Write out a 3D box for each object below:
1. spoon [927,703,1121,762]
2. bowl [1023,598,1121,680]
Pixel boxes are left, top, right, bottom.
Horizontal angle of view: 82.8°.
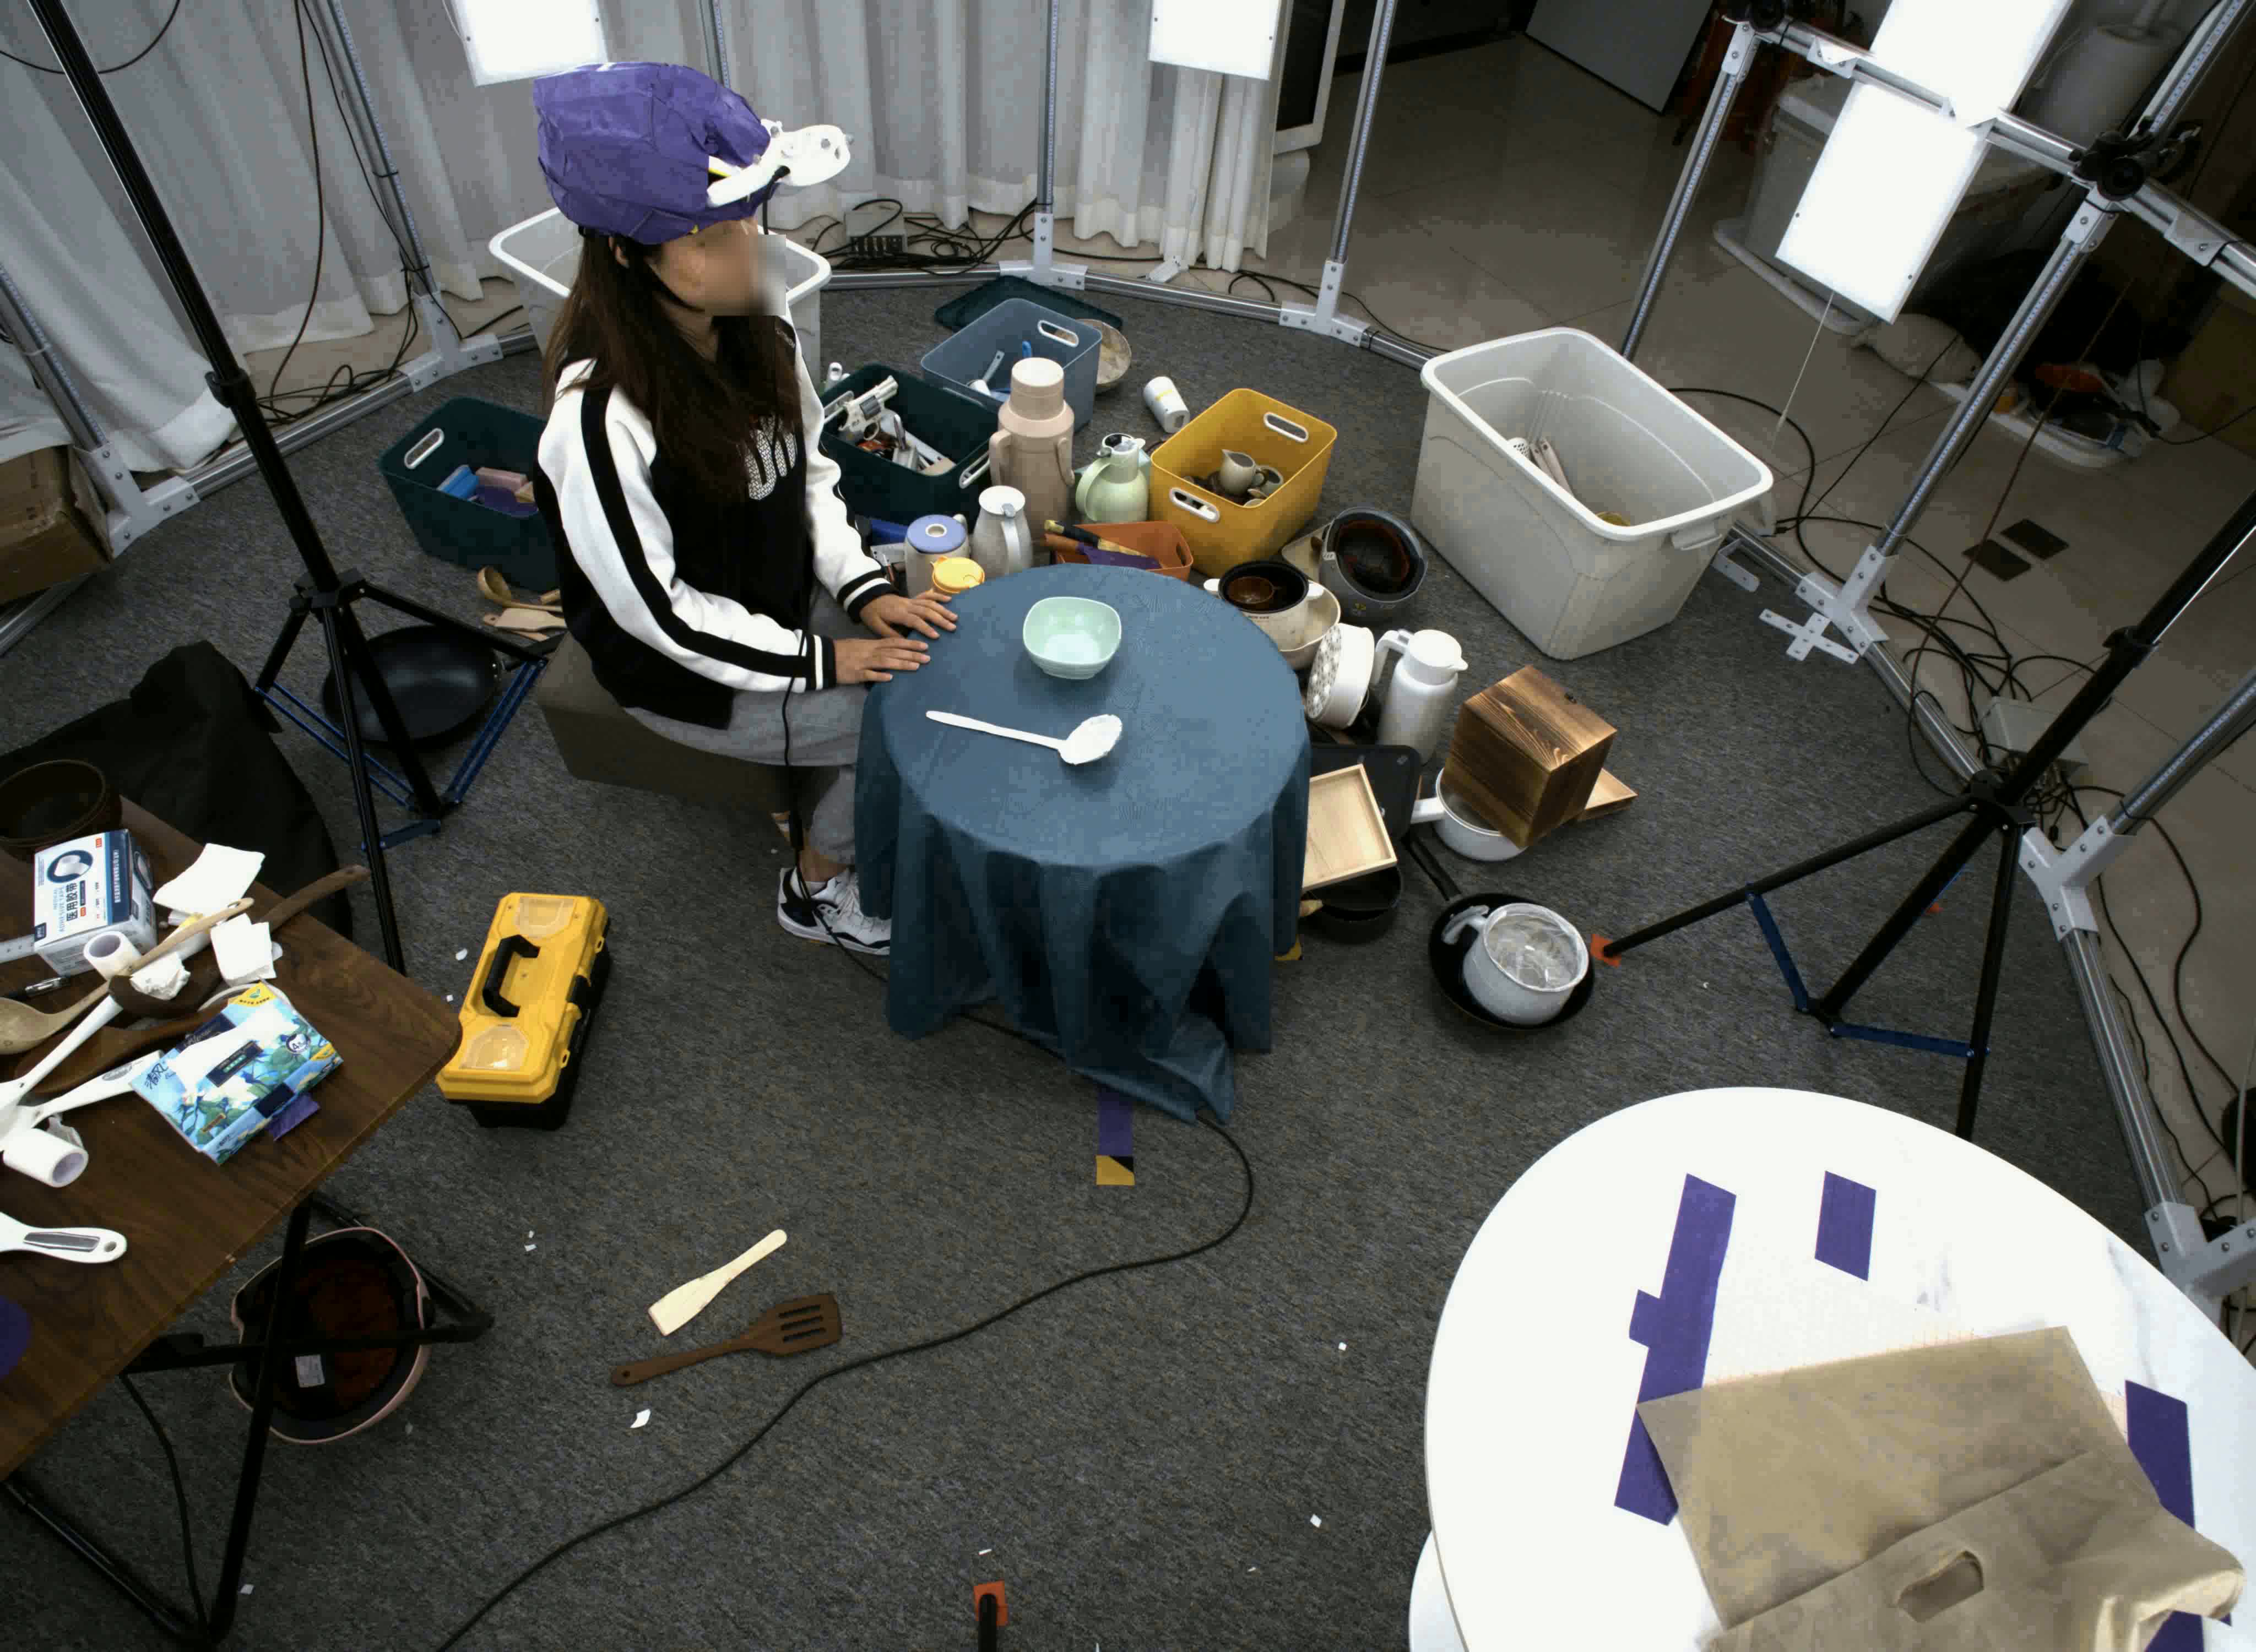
[{"bbox_3d":[-0.143,-0.148,1.752,0.278,0.058,0.103,17,46,10],"label":"spoon"},{"bbox_3d":[-0.082,-0.262,1.857,0.151,0.057,0.155,2,49,-3],"label":"bowl"}]
